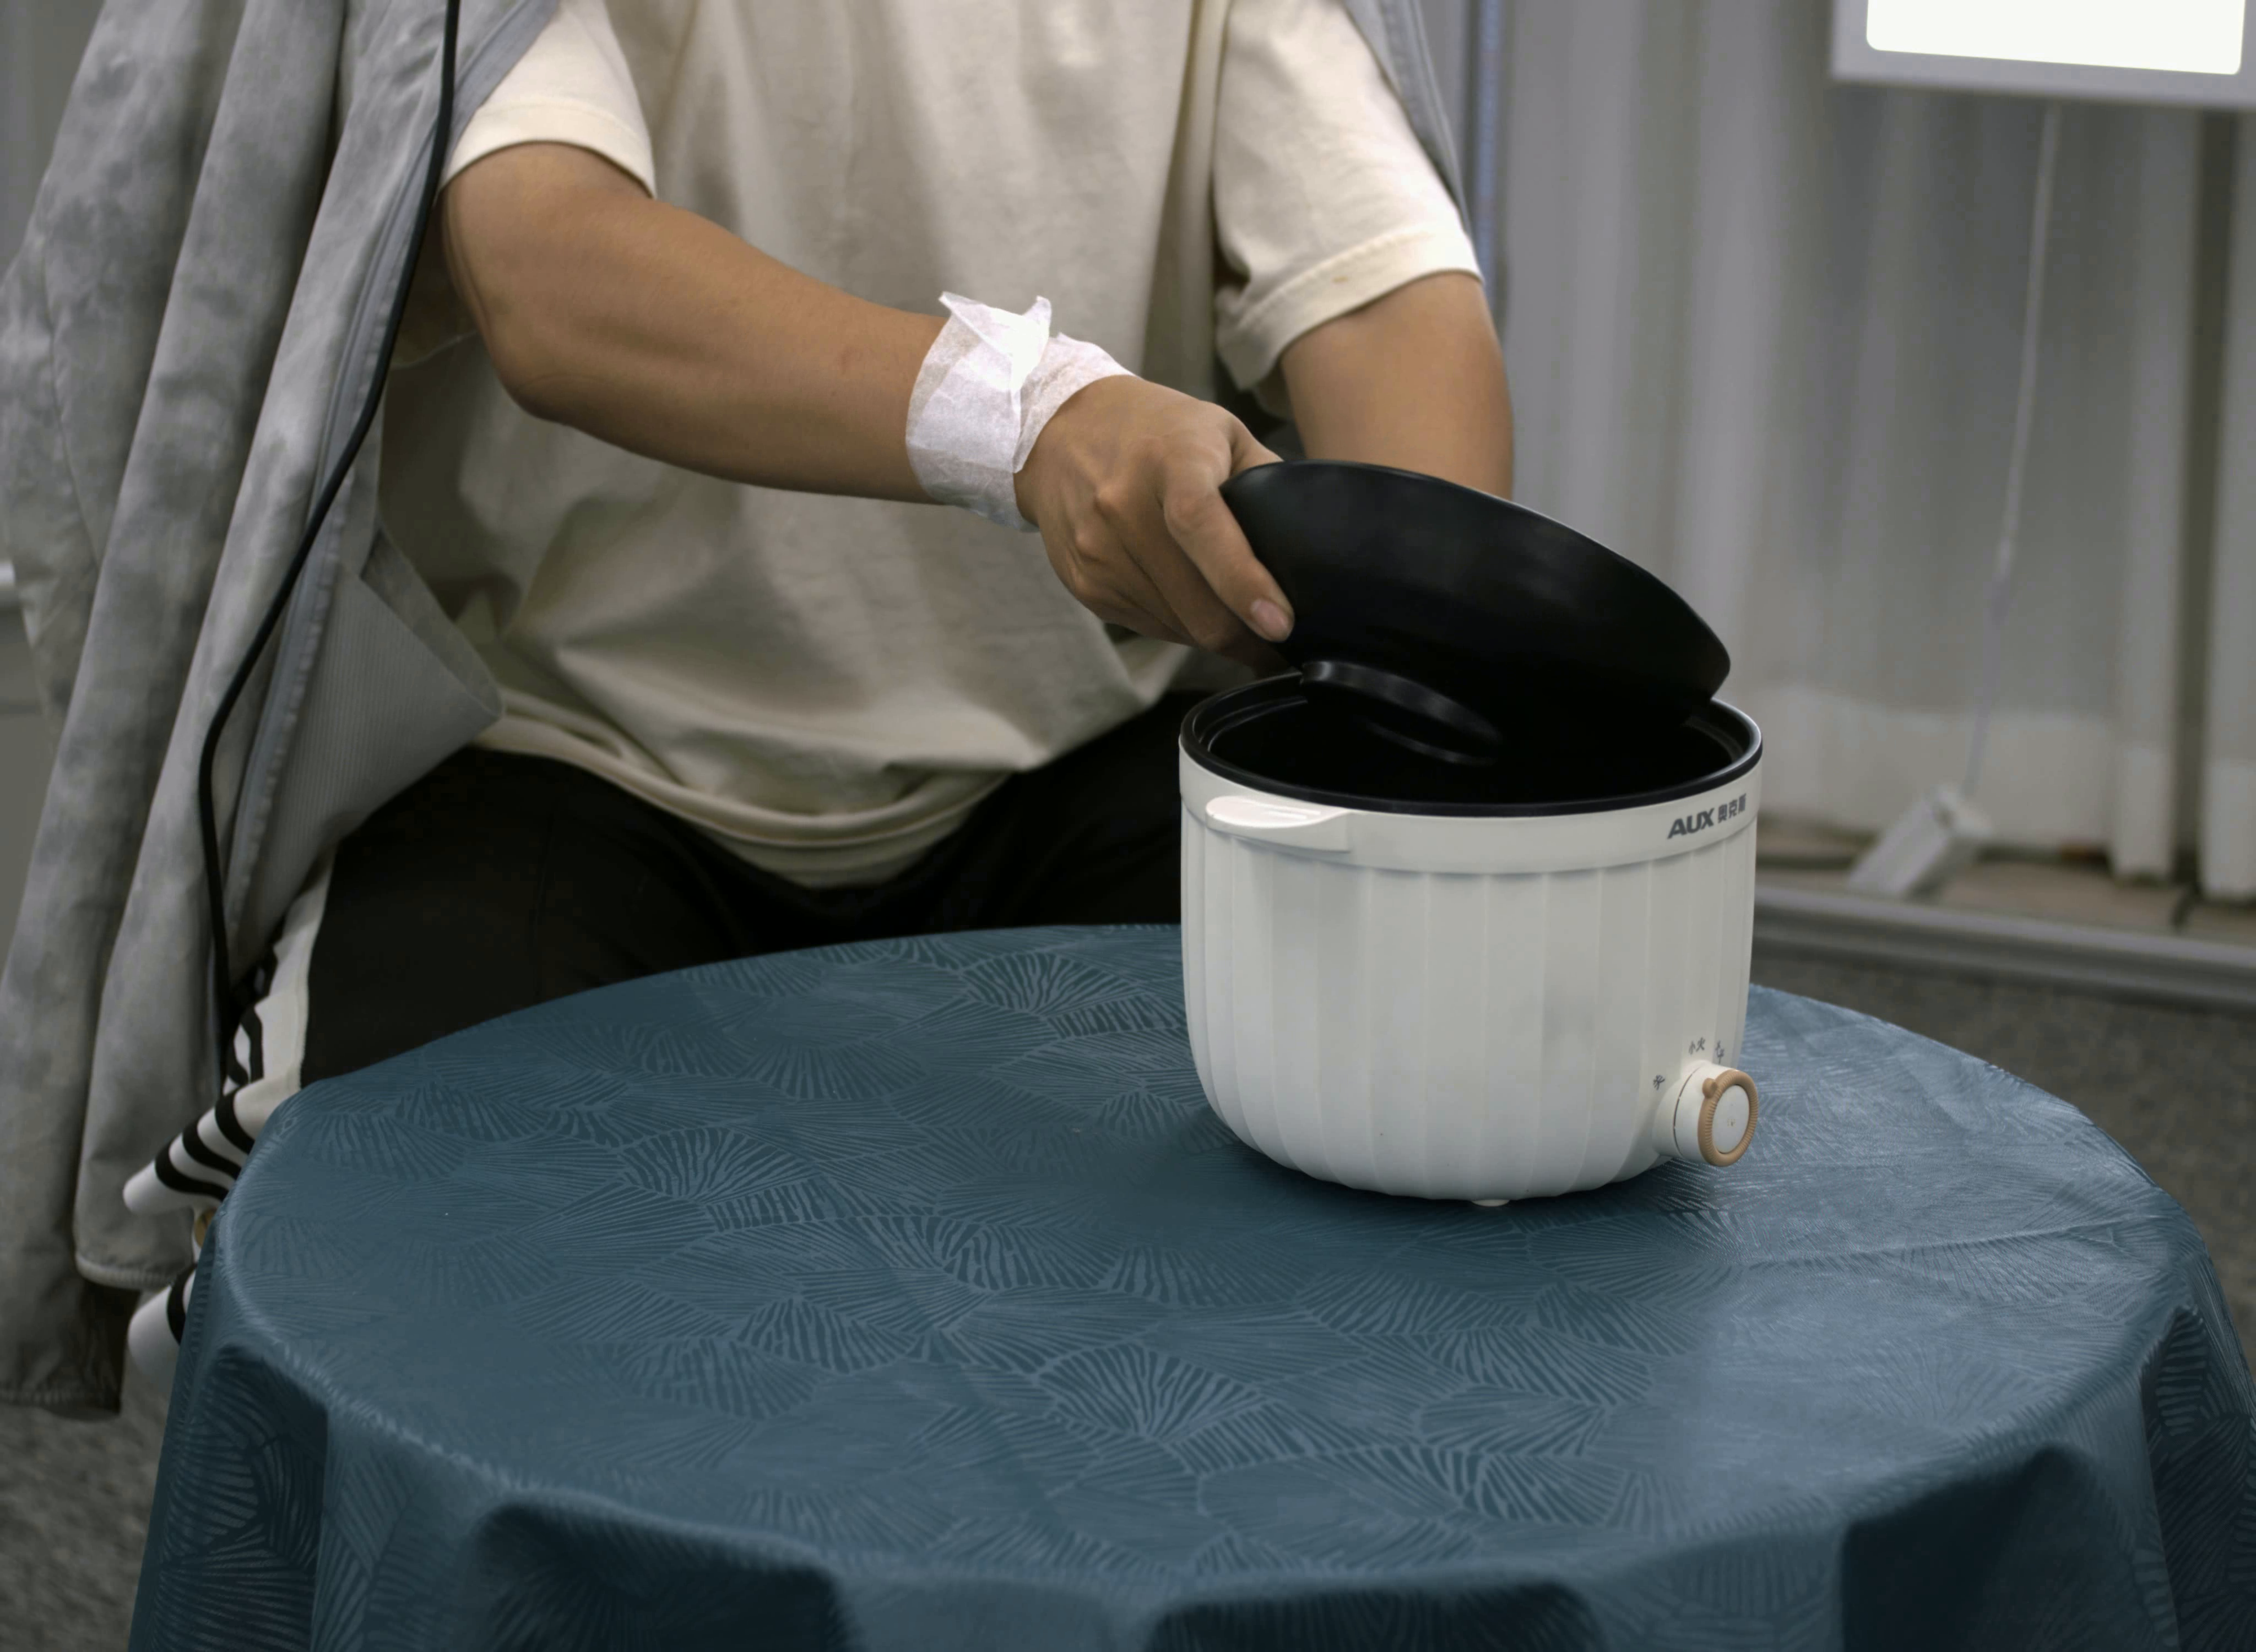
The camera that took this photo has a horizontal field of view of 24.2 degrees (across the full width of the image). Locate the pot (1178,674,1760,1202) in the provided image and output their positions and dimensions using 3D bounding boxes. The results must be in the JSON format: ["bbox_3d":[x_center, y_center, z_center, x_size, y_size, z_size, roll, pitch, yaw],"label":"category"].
[{"bbox_3d":[0.111,0.034,1.652,0.188,0.144,0.241,9,18,37],"label":"pot"}]

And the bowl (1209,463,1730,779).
[{"bbox_3d":[0.098,-0.057,1.630,0.169,0.066,0.138,21,-11,7],"label":"bowl"}]
